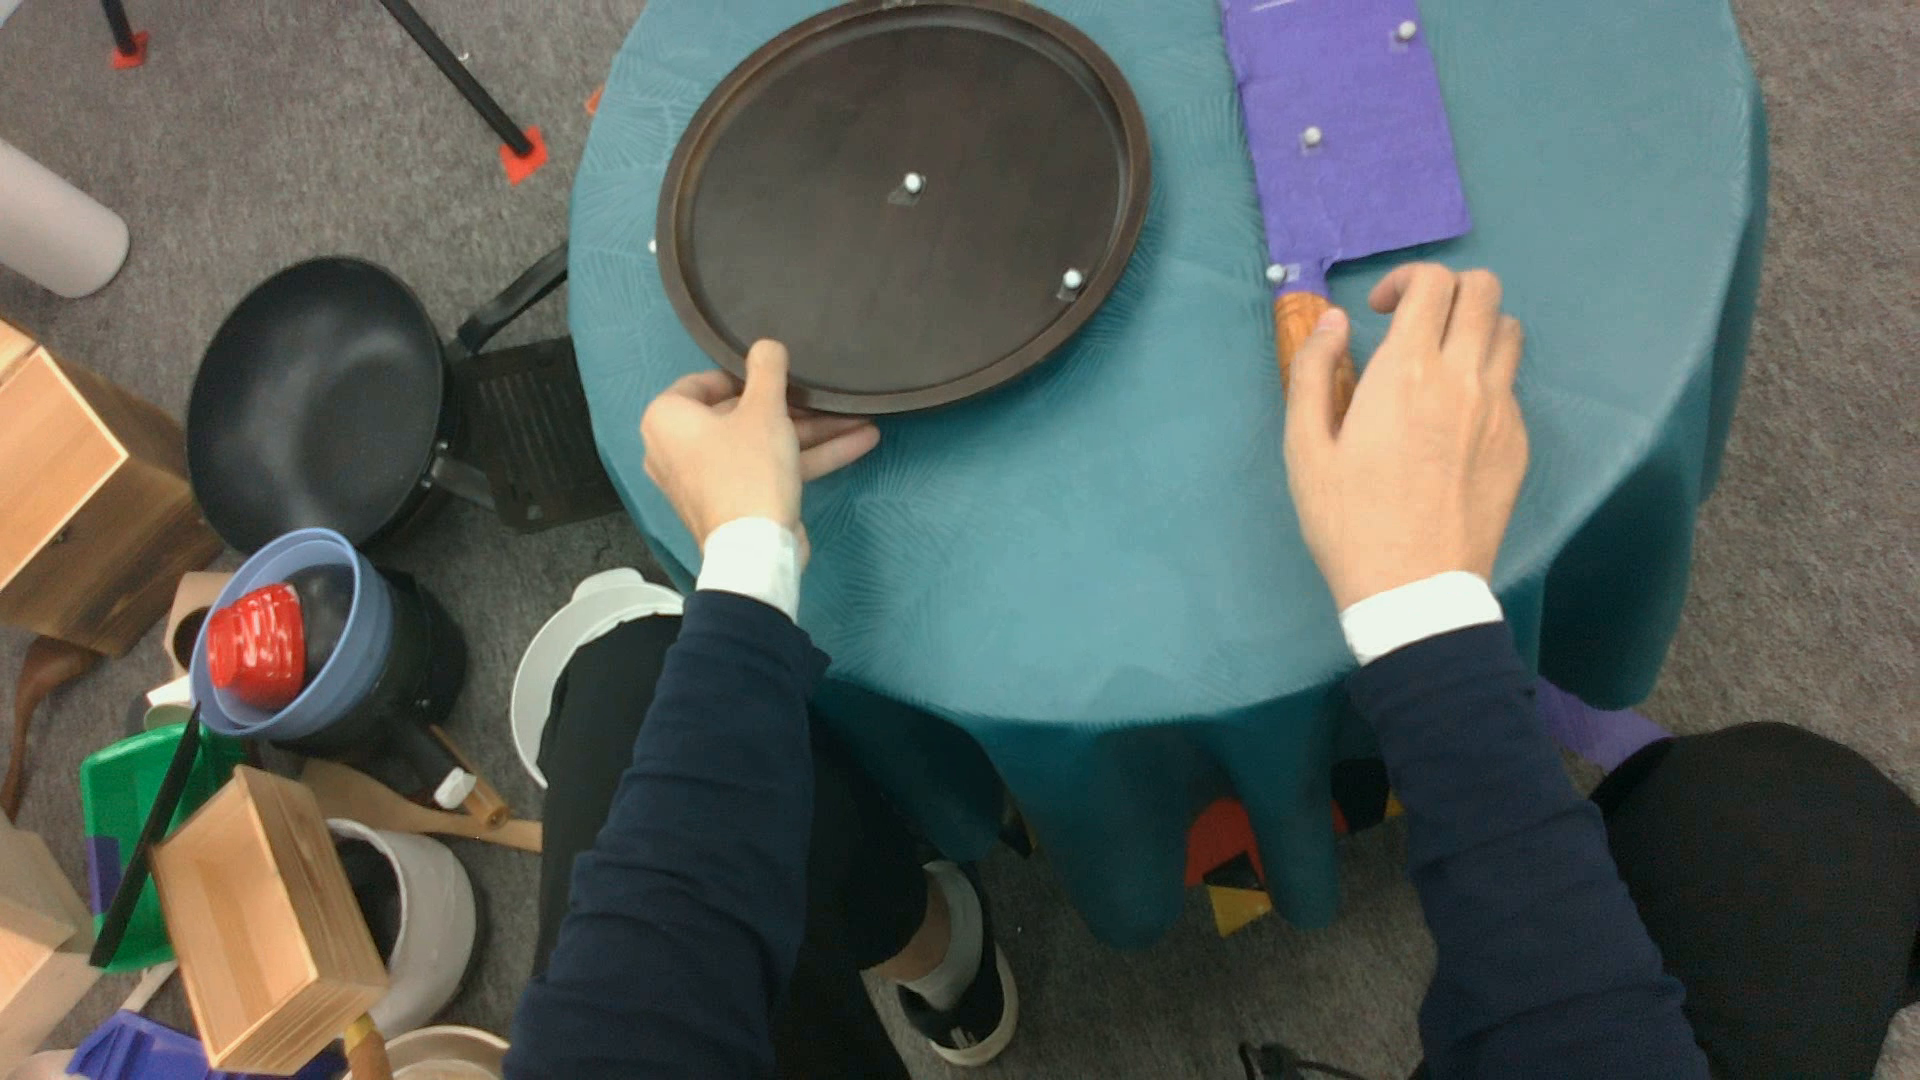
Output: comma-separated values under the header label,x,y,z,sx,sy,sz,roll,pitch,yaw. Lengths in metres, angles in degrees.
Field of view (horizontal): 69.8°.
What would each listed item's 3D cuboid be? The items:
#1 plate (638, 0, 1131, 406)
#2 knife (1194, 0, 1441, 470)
label,x,y,z,sx,sy,sz,roll,pitch,yaw
plate,-0.040,-0.178,0.698,0.254,0.029,0.255,-4,65,9
knife,0.174,-0.187,0.658,0.104,0.032,0.316,-12,69,11
